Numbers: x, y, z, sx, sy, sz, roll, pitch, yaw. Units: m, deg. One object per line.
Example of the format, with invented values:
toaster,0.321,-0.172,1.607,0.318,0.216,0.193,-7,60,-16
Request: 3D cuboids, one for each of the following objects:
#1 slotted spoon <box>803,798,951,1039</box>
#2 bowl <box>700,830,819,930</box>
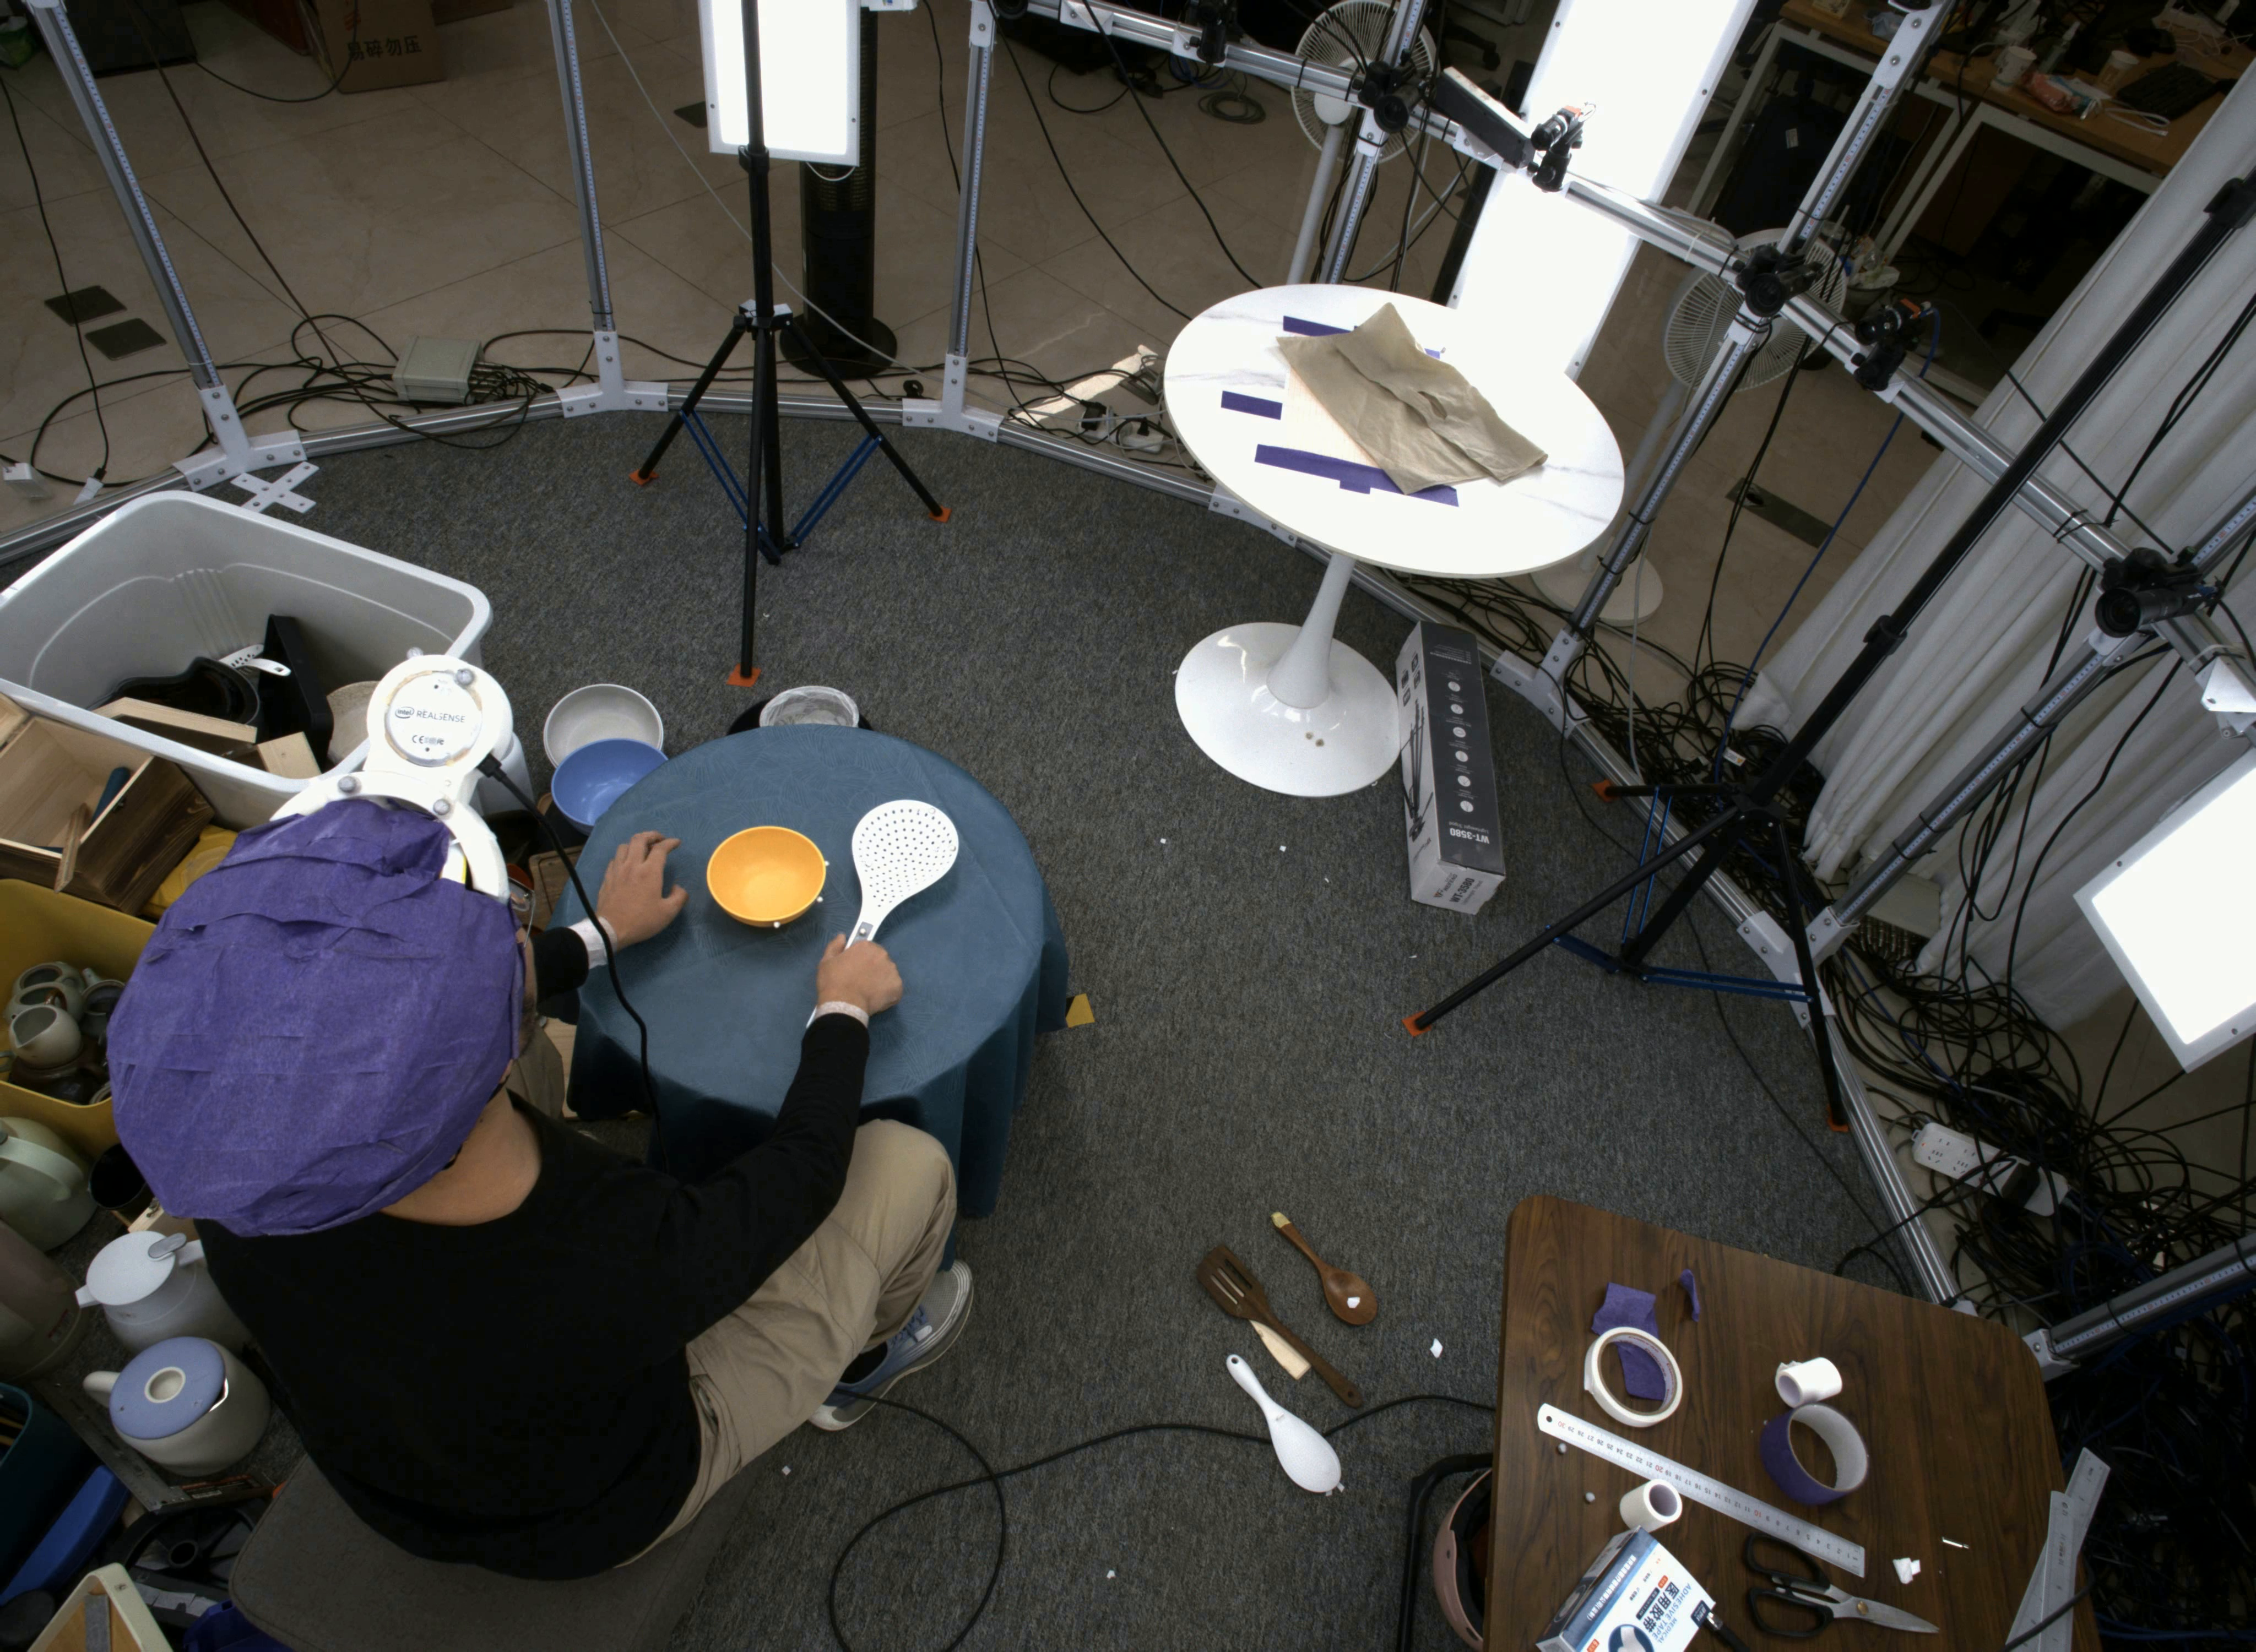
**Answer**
slotted spoon,-0.327,0.109,1.633,0.134,0.047,0.346,18,52,1
bowl,-0.458,0.077,1.617,0.145,0.061,0.142,7,50,-7
